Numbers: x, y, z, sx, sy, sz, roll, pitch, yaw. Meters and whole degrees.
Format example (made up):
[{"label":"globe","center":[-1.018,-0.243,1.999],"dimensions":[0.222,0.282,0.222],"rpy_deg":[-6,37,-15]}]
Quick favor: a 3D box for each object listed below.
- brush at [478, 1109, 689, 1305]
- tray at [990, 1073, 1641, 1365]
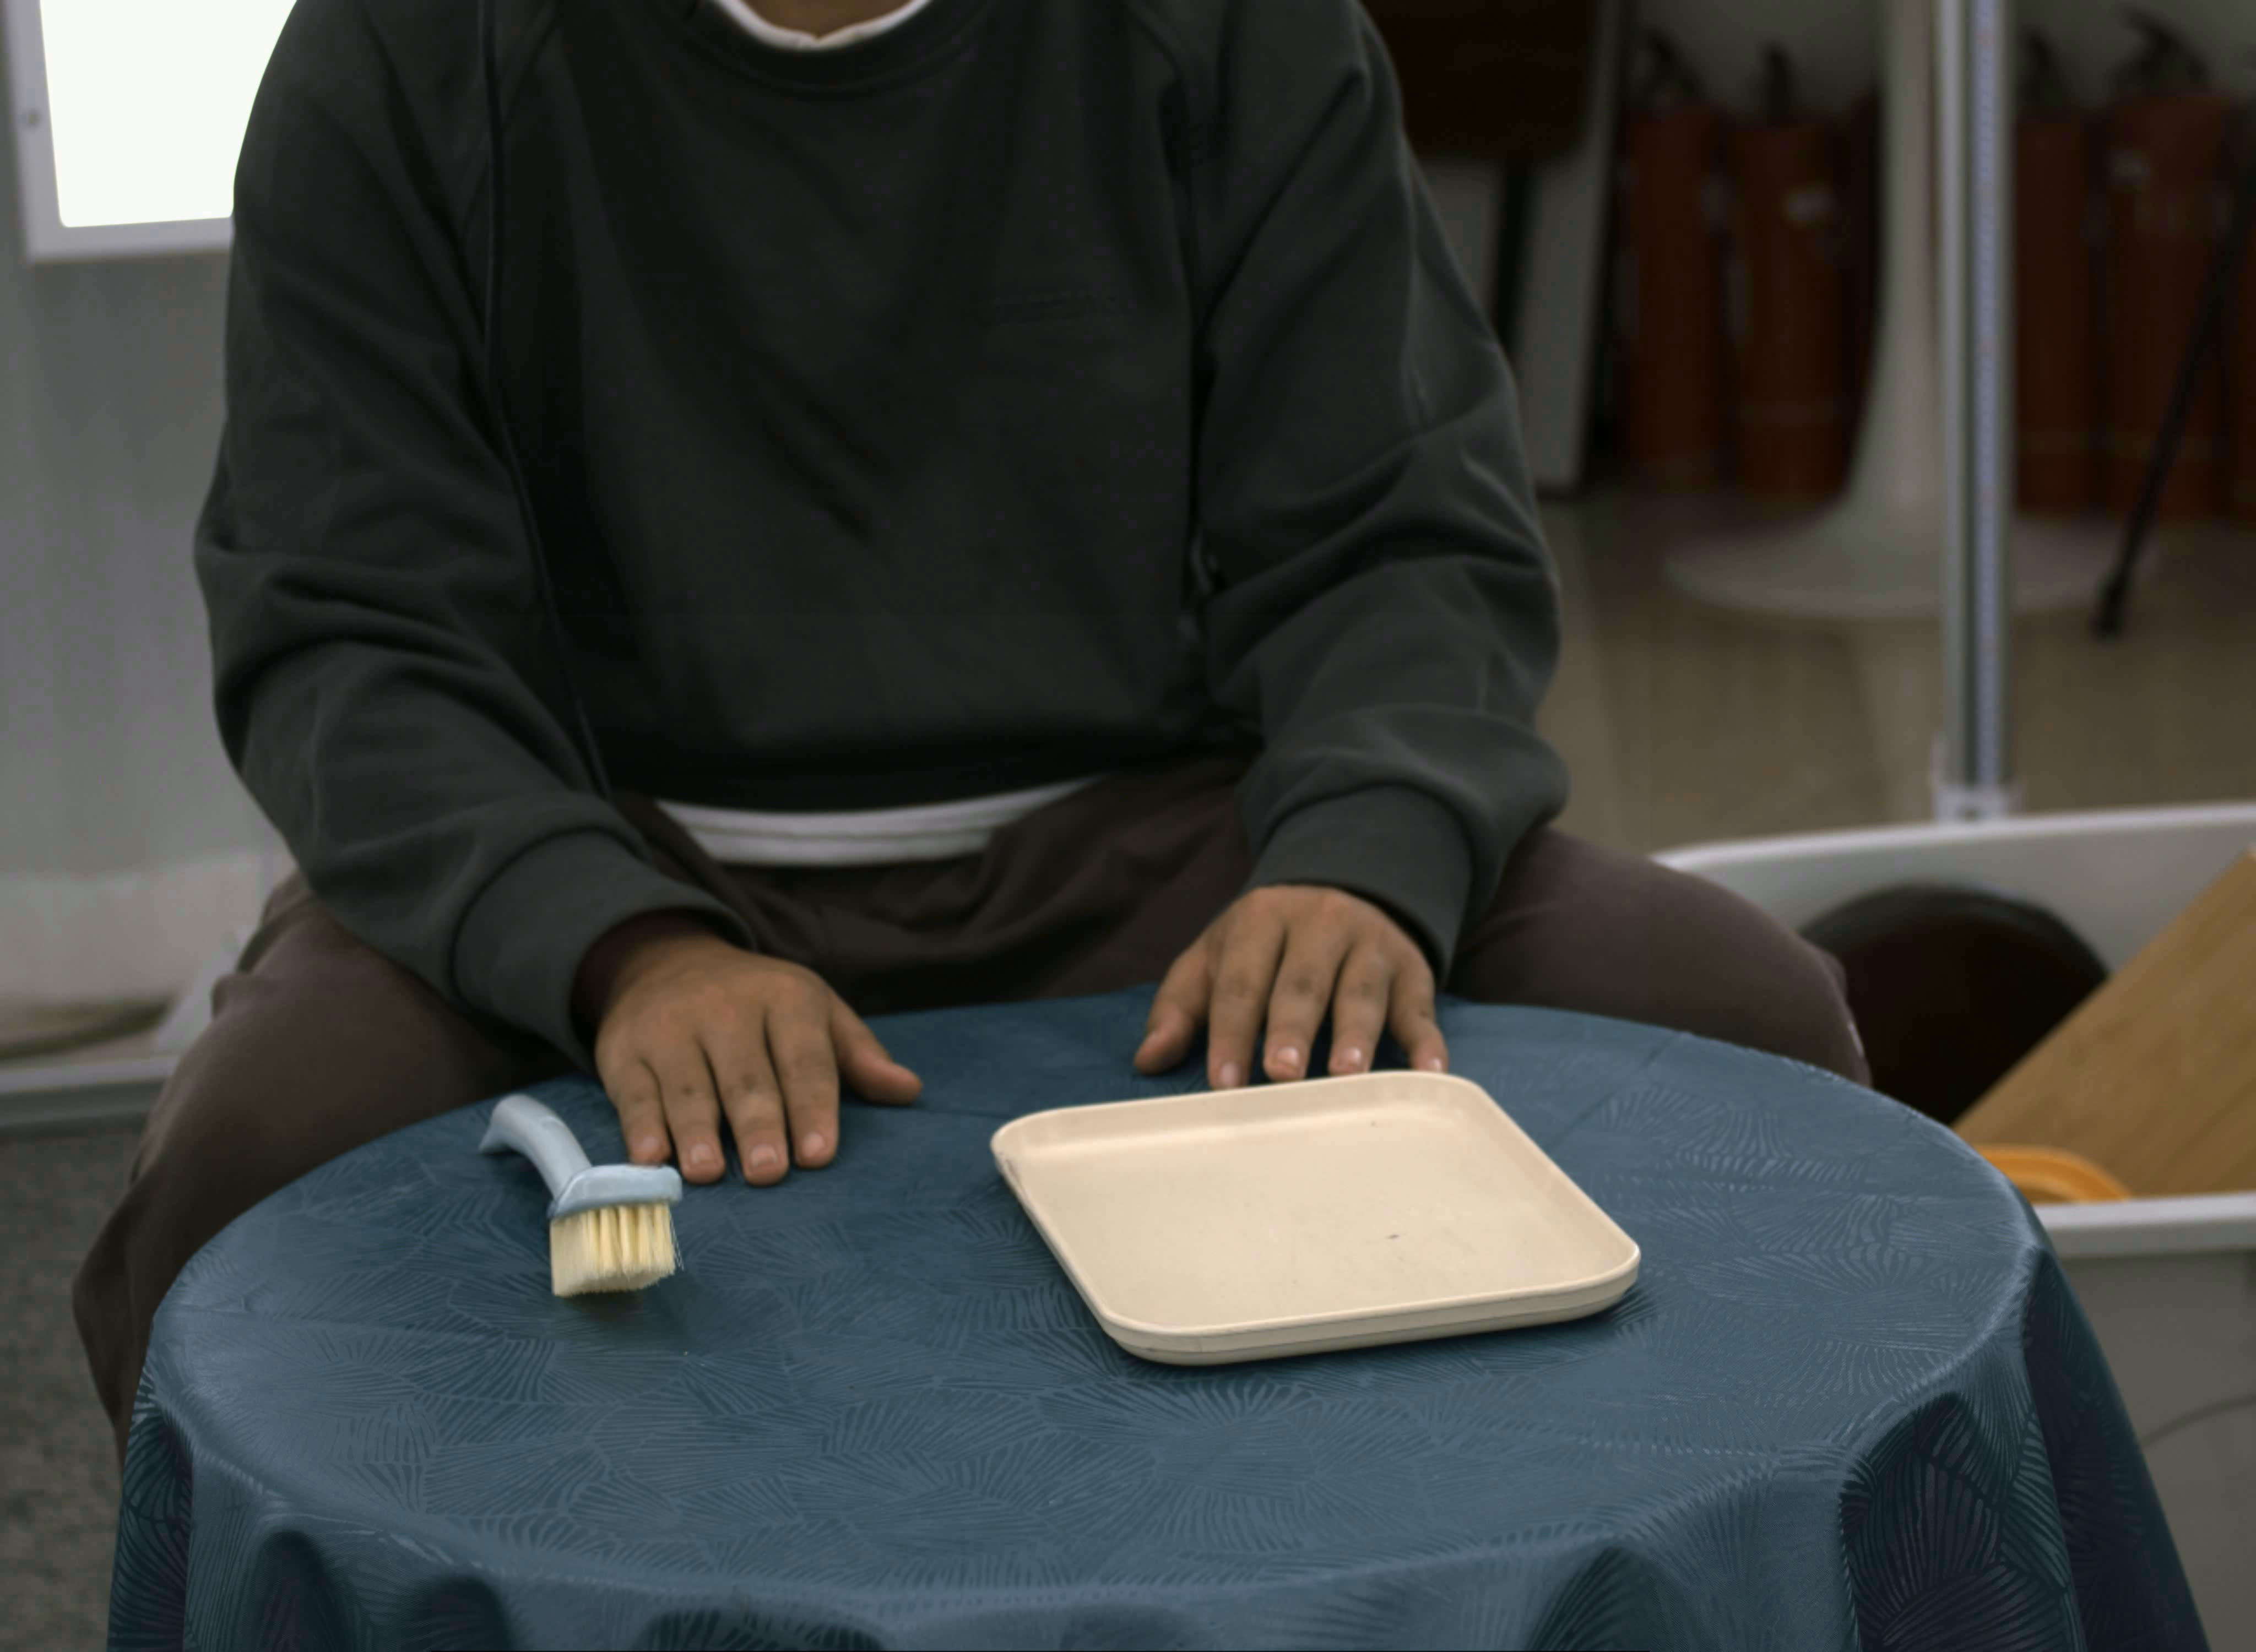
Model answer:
[{"label":"brush","center":[-0.182,0.124,1.753],"dimensions":[0.037,0.050,0.230],"rpy_deg":[-1,3,-18]},{"label":"tray","center":[0.056,0.124,1.710],"dimensions":[0.168,0.017,0.241],"rpy_deg":[-6,14,-10]}]
